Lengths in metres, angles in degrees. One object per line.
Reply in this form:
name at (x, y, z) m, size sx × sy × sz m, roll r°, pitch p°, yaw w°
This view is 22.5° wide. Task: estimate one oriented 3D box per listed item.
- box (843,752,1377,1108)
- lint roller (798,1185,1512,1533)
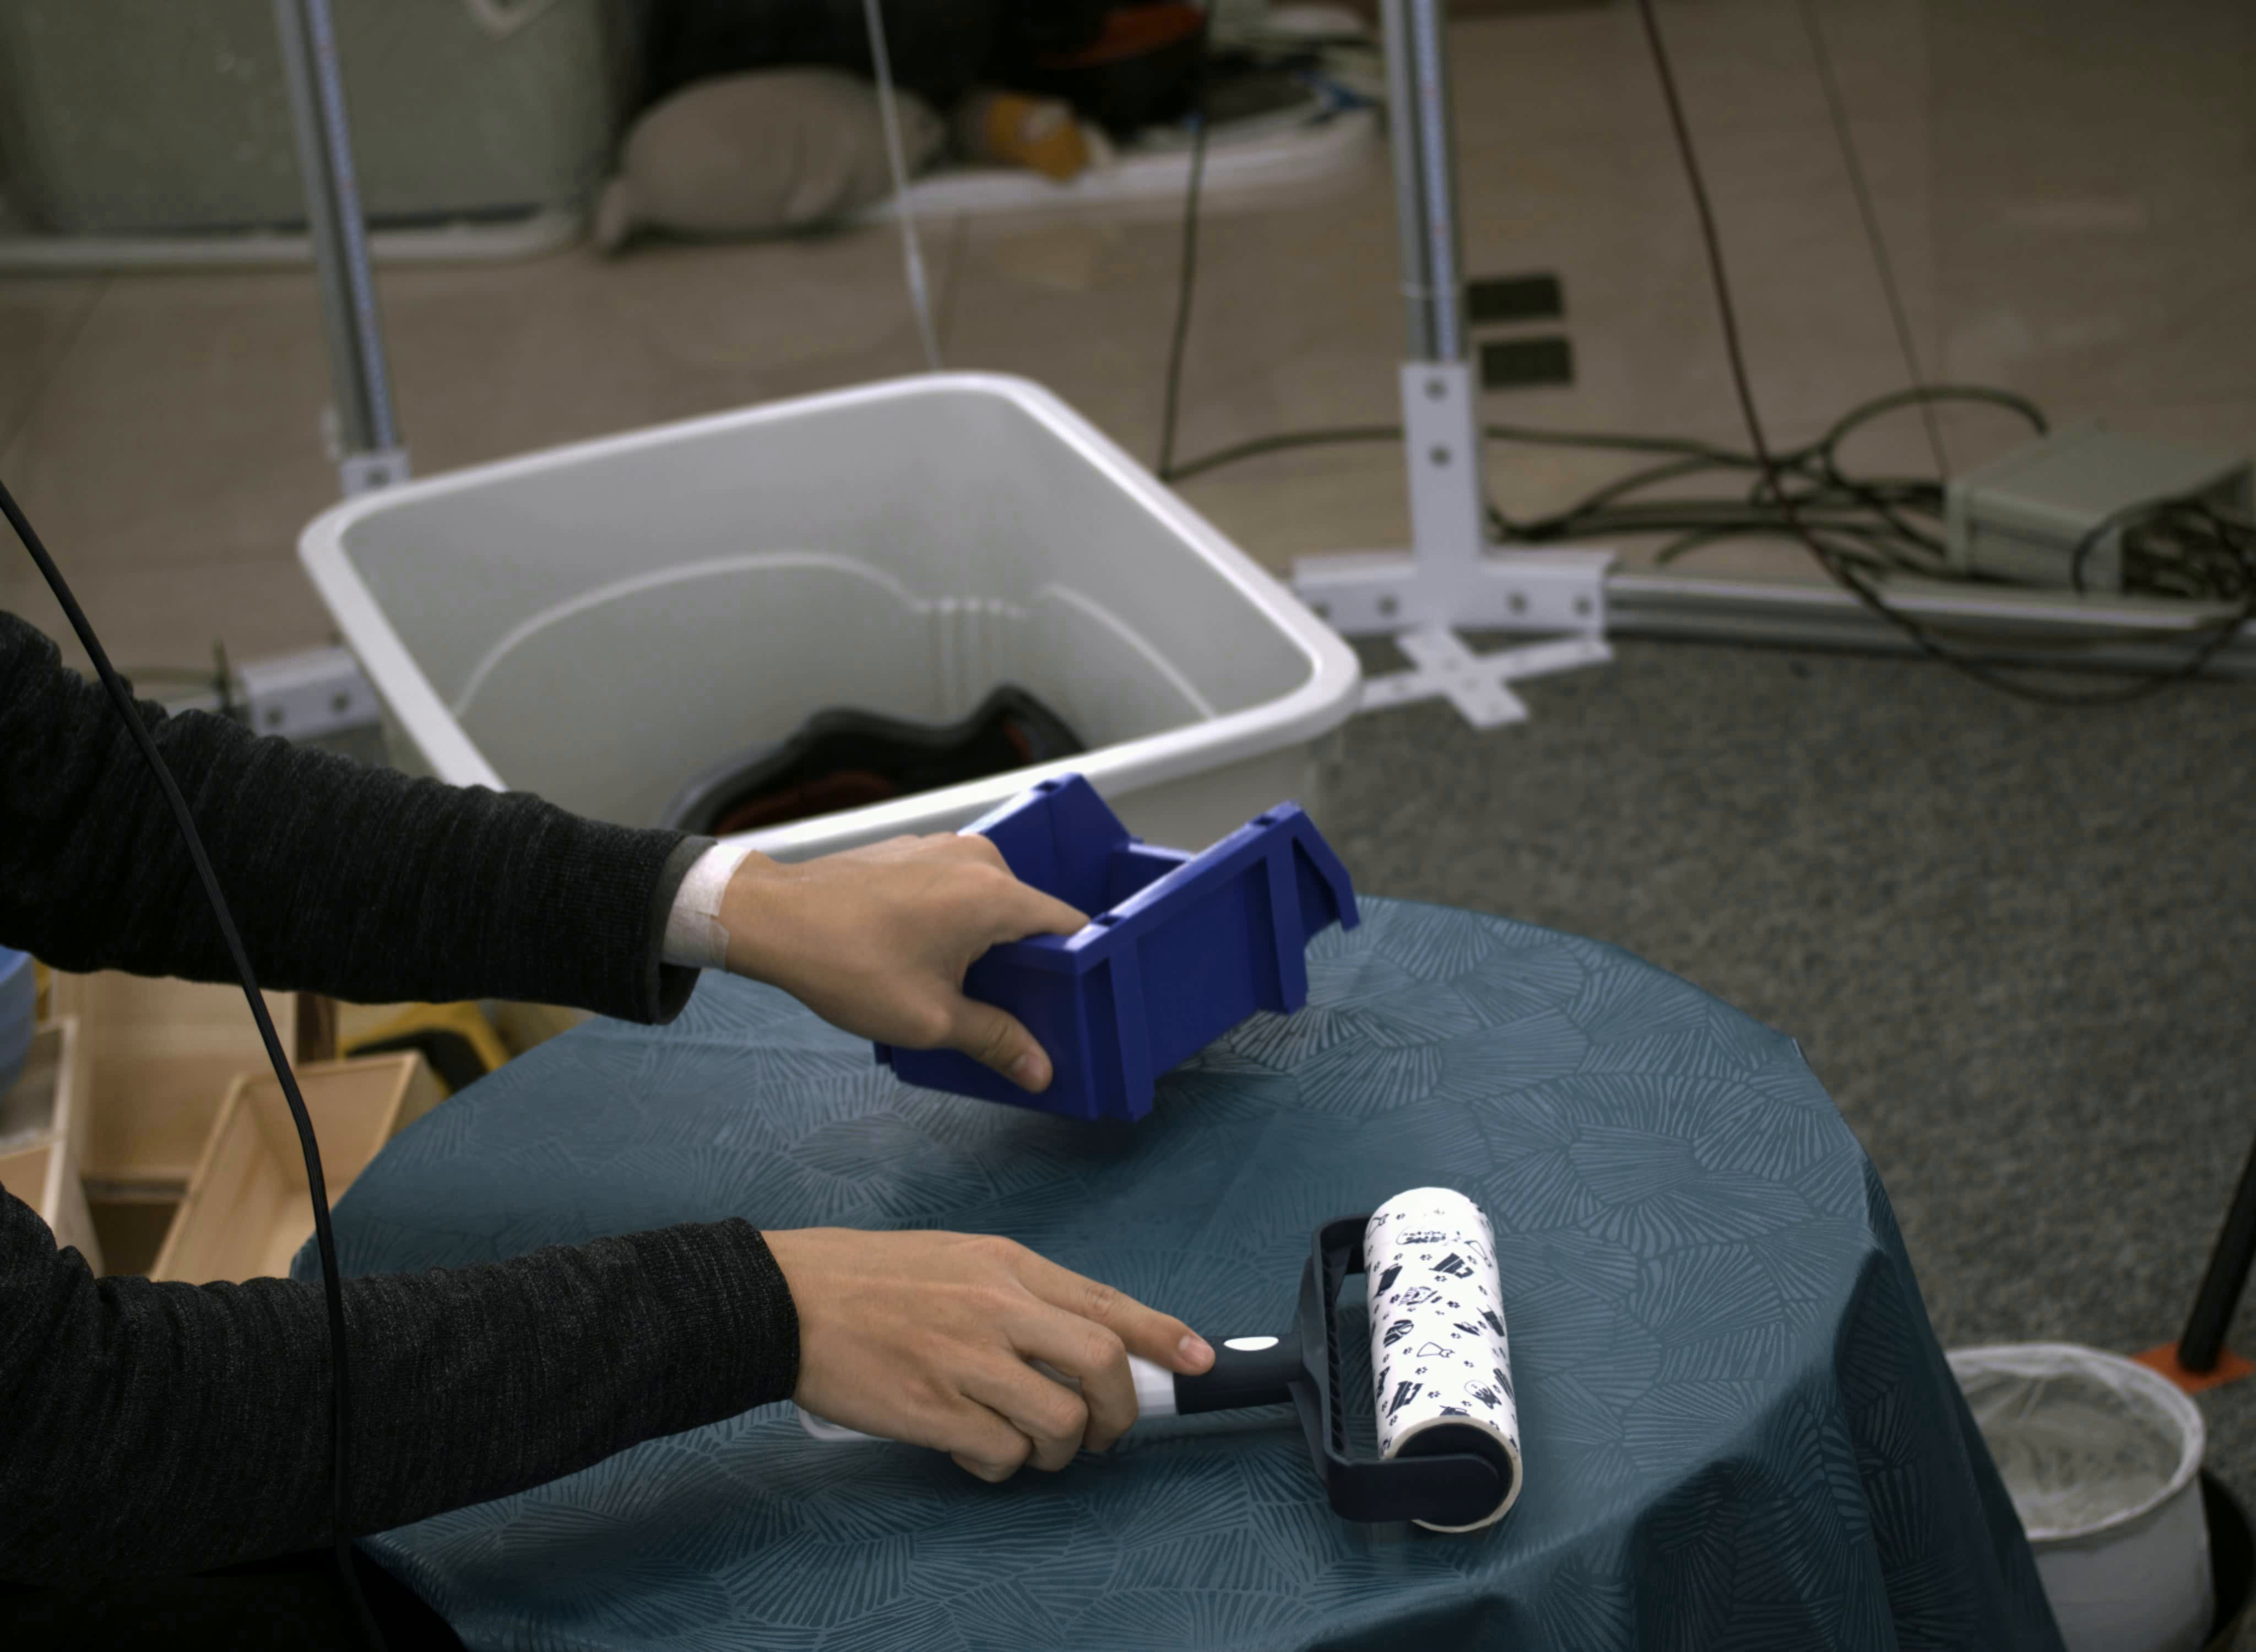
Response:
box at (-0.006, 0.036, 2.215) m, size 0.124 × 0.083 × 0.177 m, roll 10°, pitch 30°, yaw 37°
lint roller at (0.007, 0.190, 1.971) m, size 0.246 × 0.051 × 0.173 m, roll -4°, pitch 26°, yaw 1°
